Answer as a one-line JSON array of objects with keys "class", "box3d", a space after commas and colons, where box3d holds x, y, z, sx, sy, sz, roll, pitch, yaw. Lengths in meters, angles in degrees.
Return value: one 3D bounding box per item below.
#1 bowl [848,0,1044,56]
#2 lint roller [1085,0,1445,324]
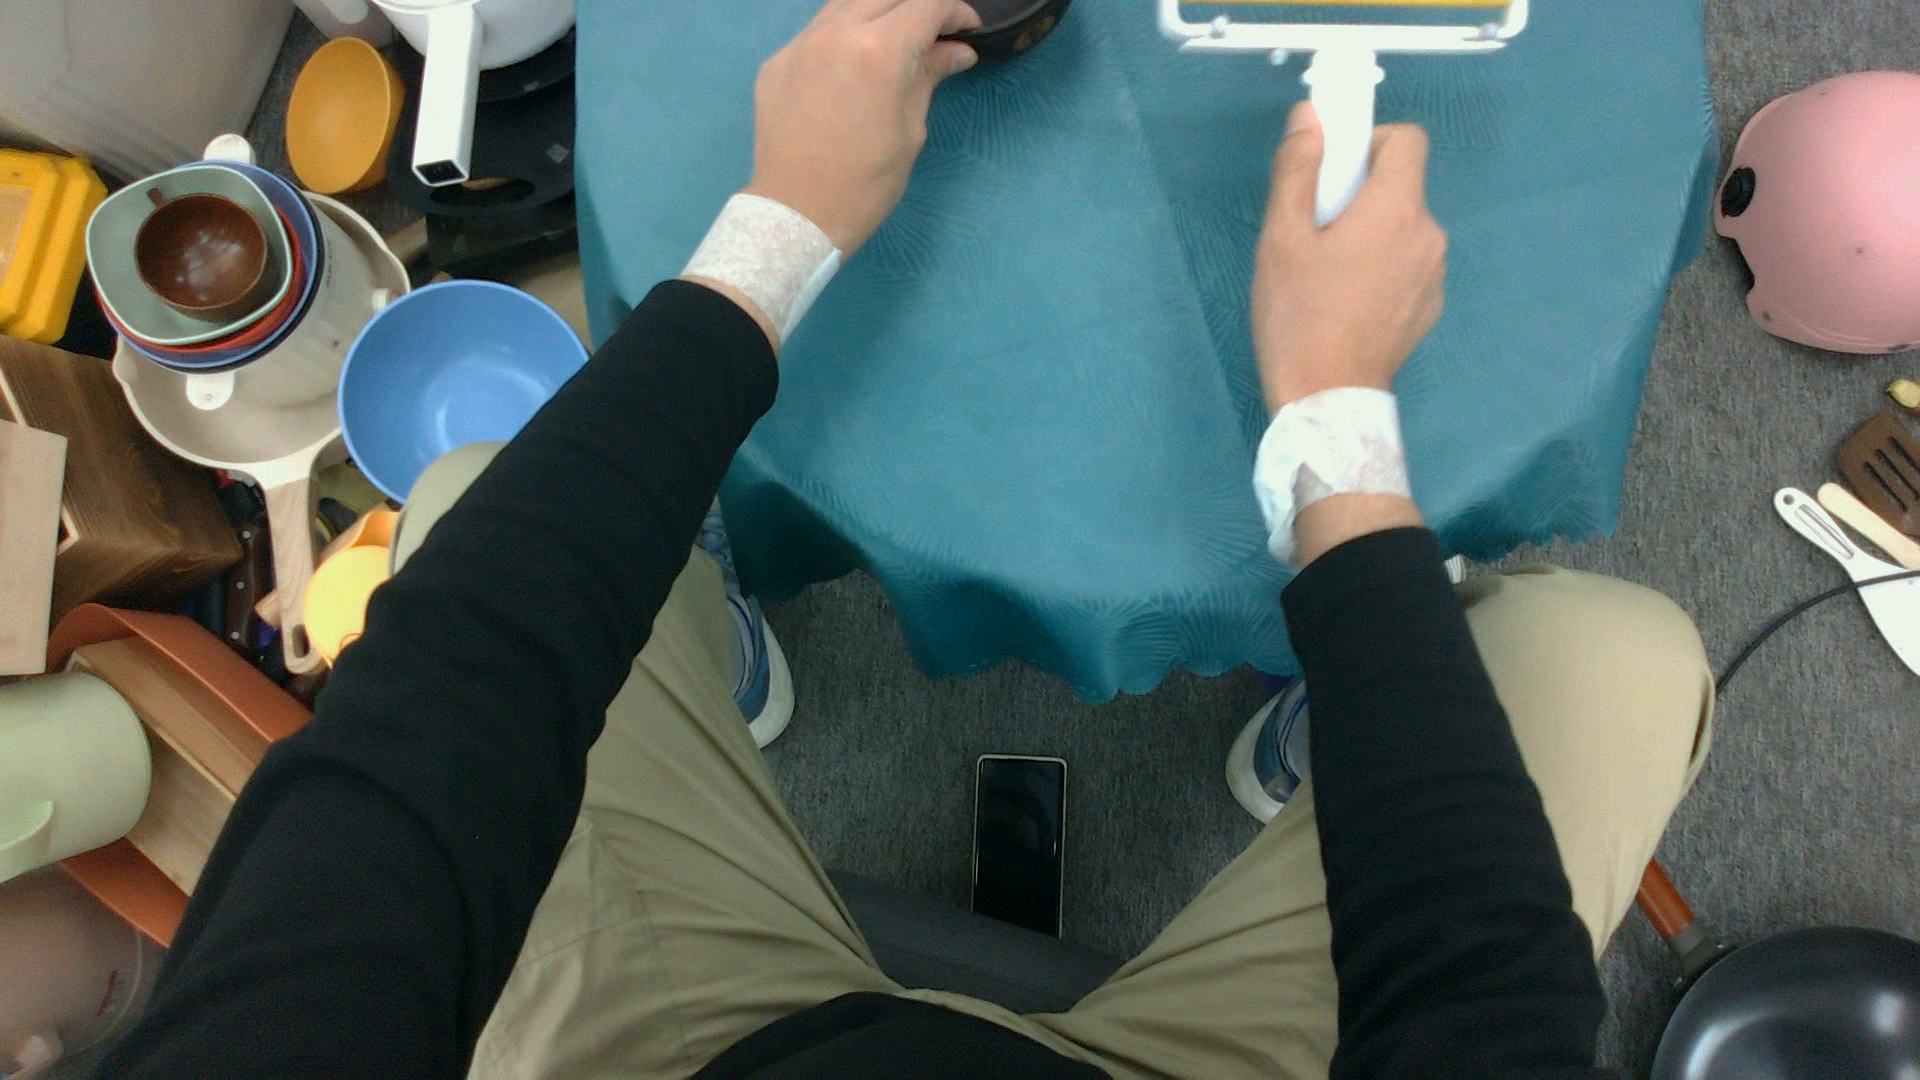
[{"class": "bowl", "box3d": [-0.006, -0.302, 0.702, 0.118, 0.070, 0.118, 0, 82, 2]}, {"class": "lint roller", "box3d": [0.152, -0.197, 0.627, 0.174, 0.051, 0.192, -10, 89, -14]}]
